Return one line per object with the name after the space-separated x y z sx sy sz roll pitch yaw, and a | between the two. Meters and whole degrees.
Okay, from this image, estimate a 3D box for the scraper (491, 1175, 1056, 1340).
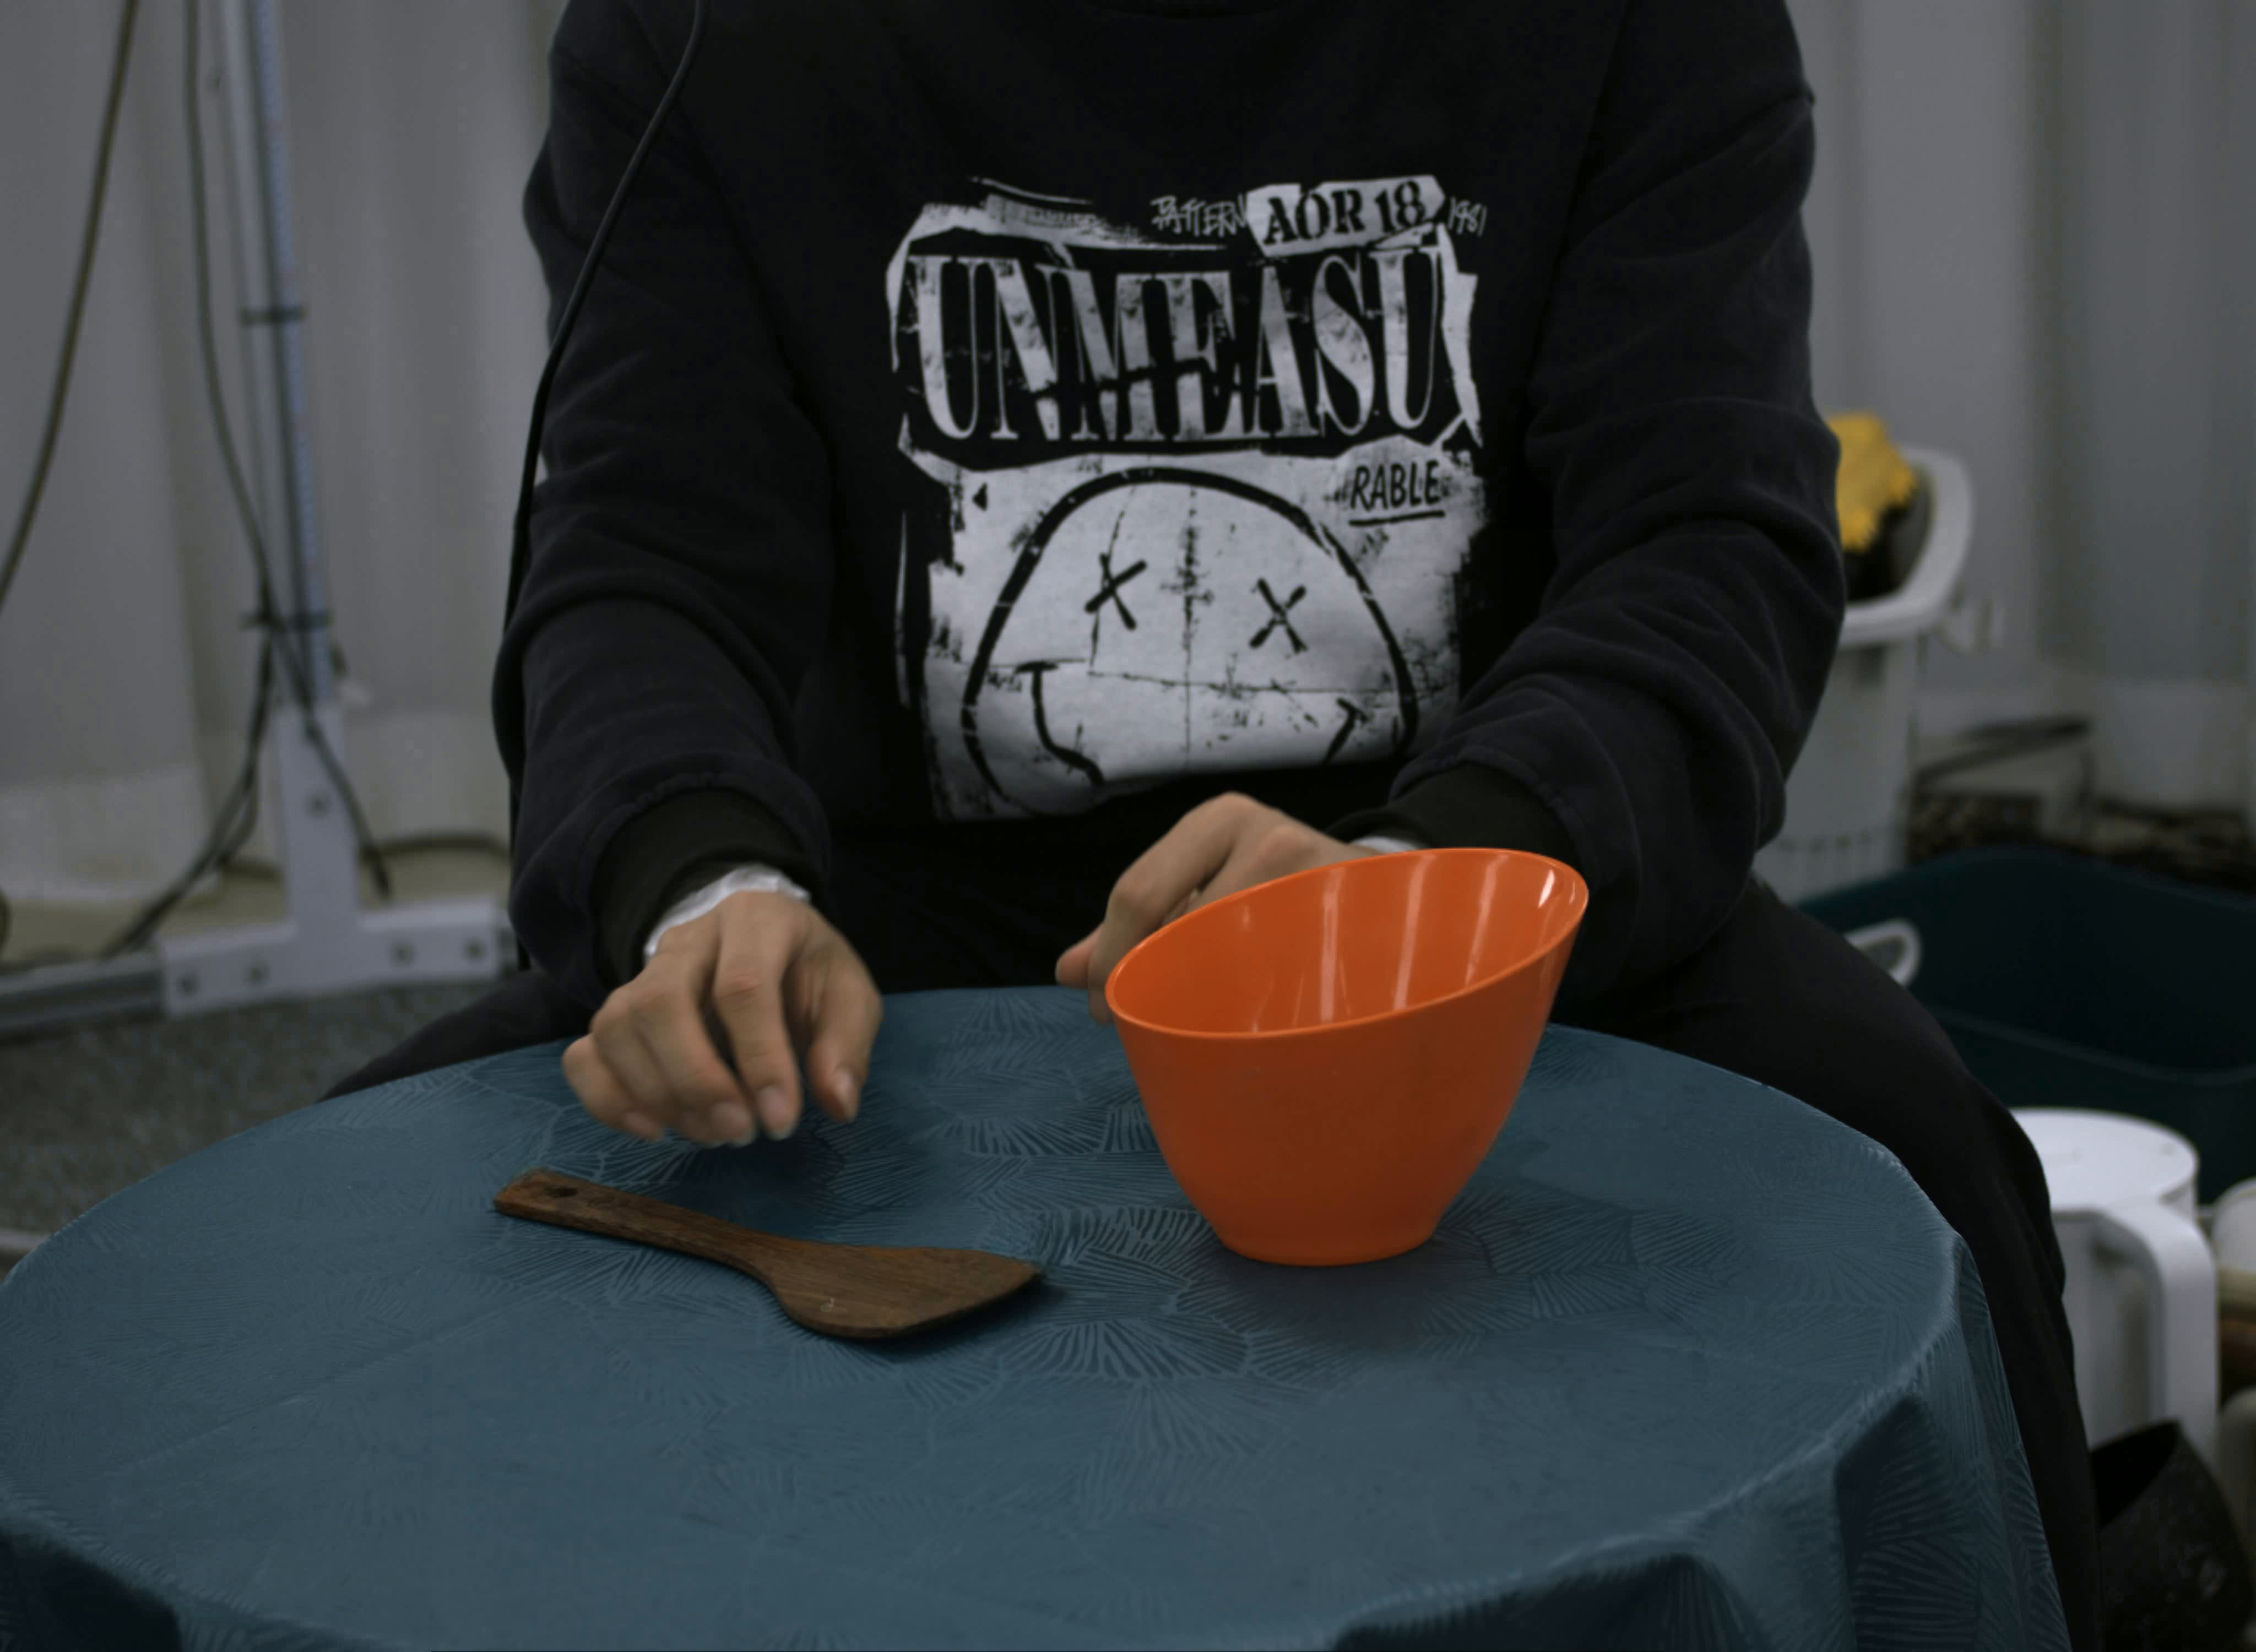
-0.117 0.129 1.668 0.212 0.011 0.075 10 18 41 | scraper

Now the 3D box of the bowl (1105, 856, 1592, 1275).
0.068 0.075 1.657 0.147 0.104 0.149 -3 15 0 | bowl
